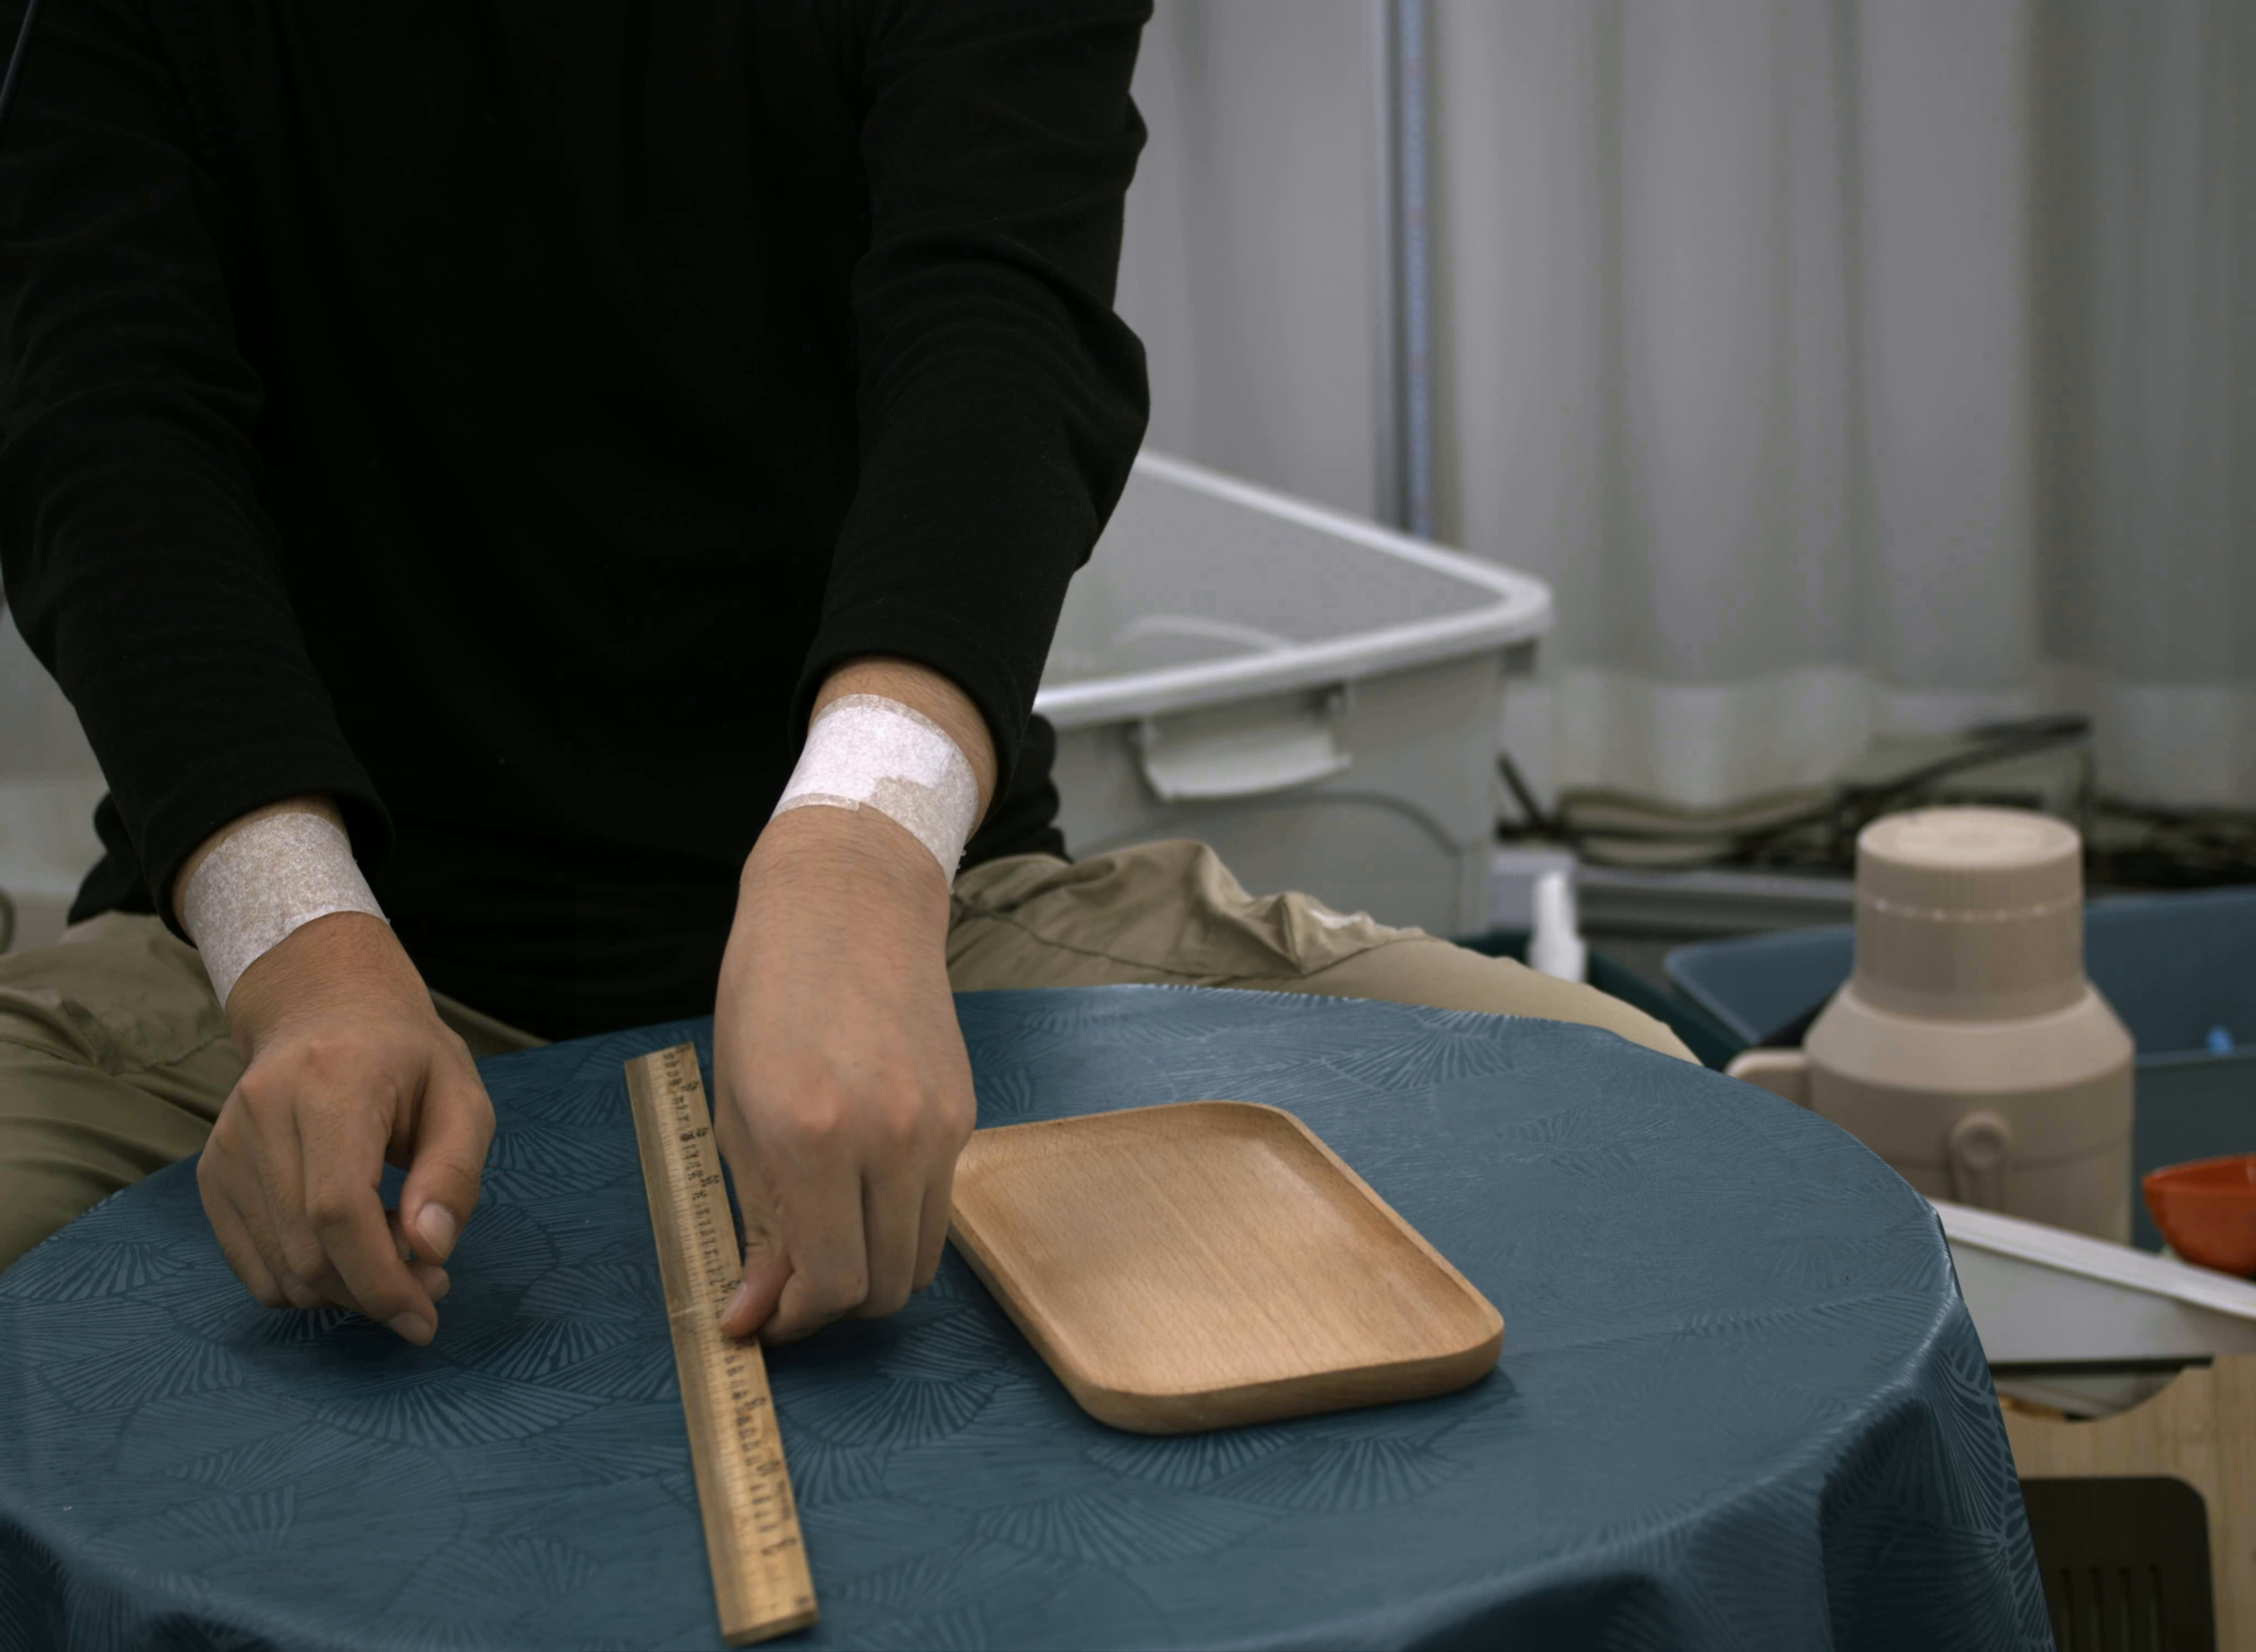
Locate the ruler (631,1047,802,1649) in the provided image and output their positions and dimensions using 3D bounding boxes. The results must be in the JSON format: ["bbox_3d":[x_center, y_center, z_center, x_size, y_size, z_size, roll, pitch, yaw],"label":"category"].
[{"bbox_3d":[-0.125,0.141,1.620,0.027,0.006,0.504,-14,16,-4],"label":"ruler"}]

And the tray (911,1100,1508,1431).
[{"bbox_3d":[0.020,0.128,1.628,0.130,0.023,0.252,-4,14,-14],"label":"tray"}]
